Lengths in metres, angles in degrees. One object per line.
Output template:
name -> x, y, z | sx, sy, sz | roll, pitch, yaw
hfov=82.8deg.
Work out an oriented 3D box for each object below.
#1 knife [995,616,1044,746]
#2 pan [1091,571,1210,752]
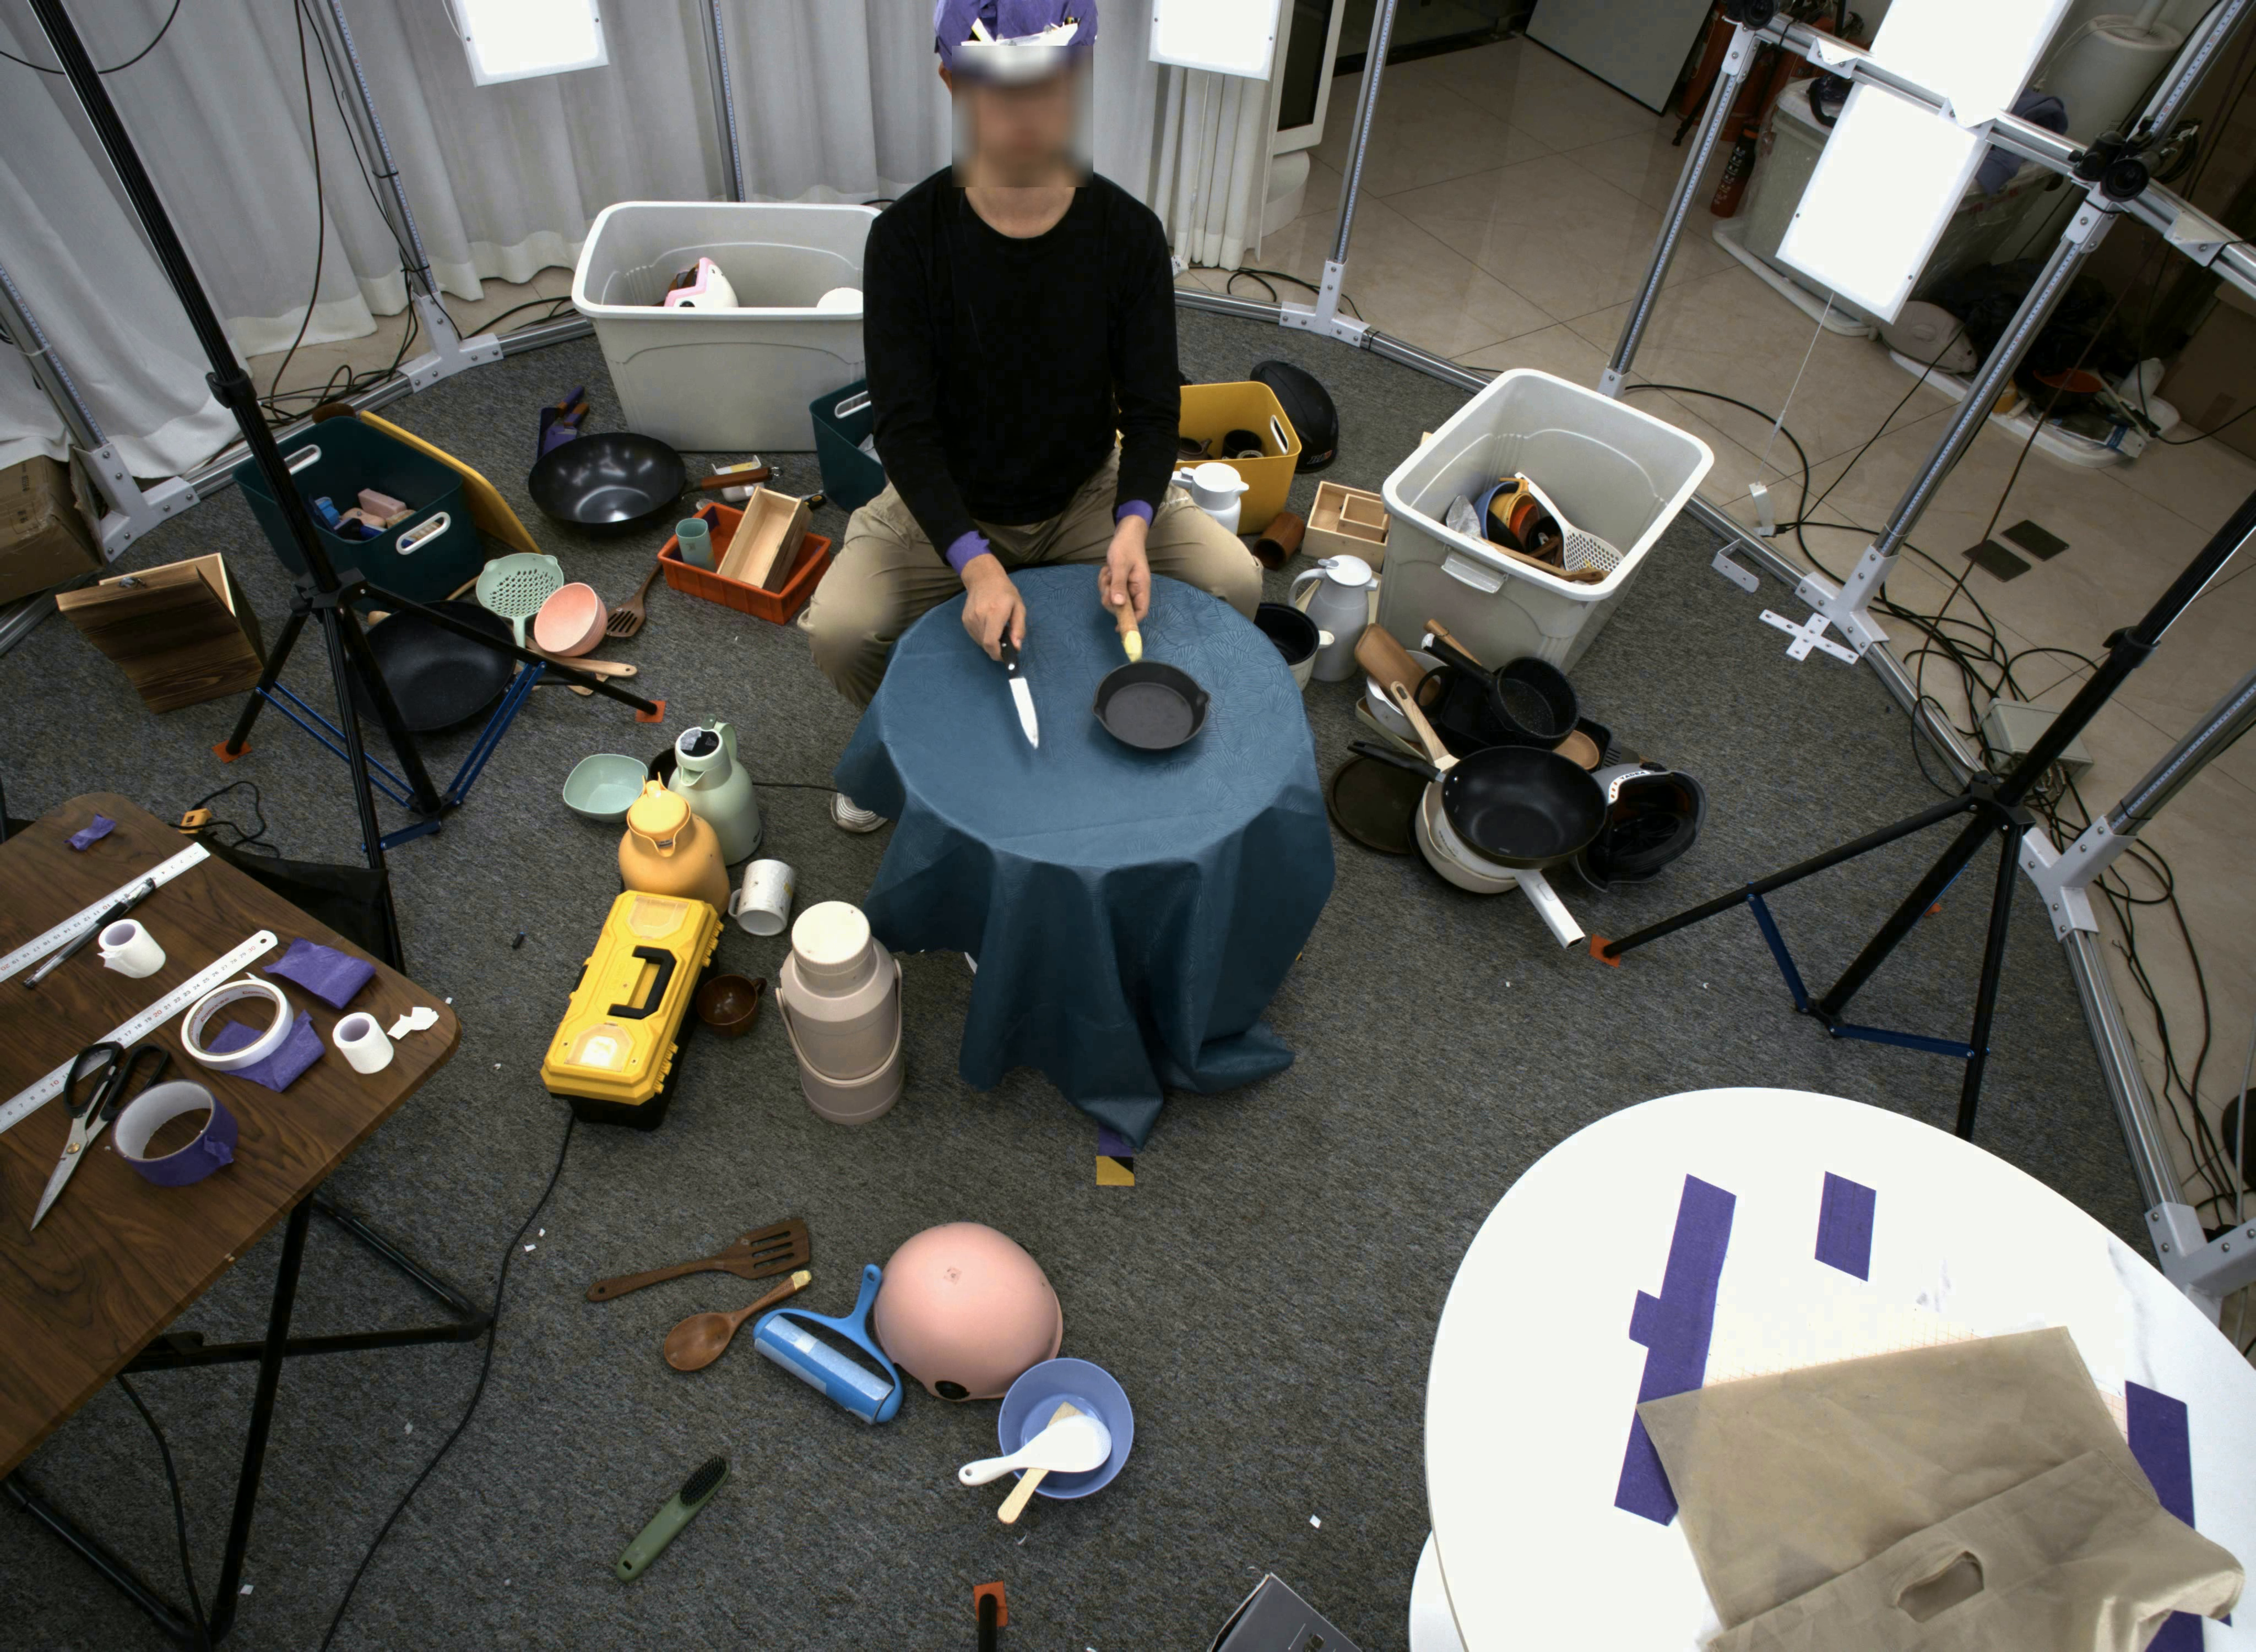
knife -> -0.150, -0.202, 1.778 | 0.024, 0.016, 0.244 | -20, 56, 1
pan -> 0.016, -0.234, 1.826 | 0.169, 0.048, 0.332 | -5, 54, -9
